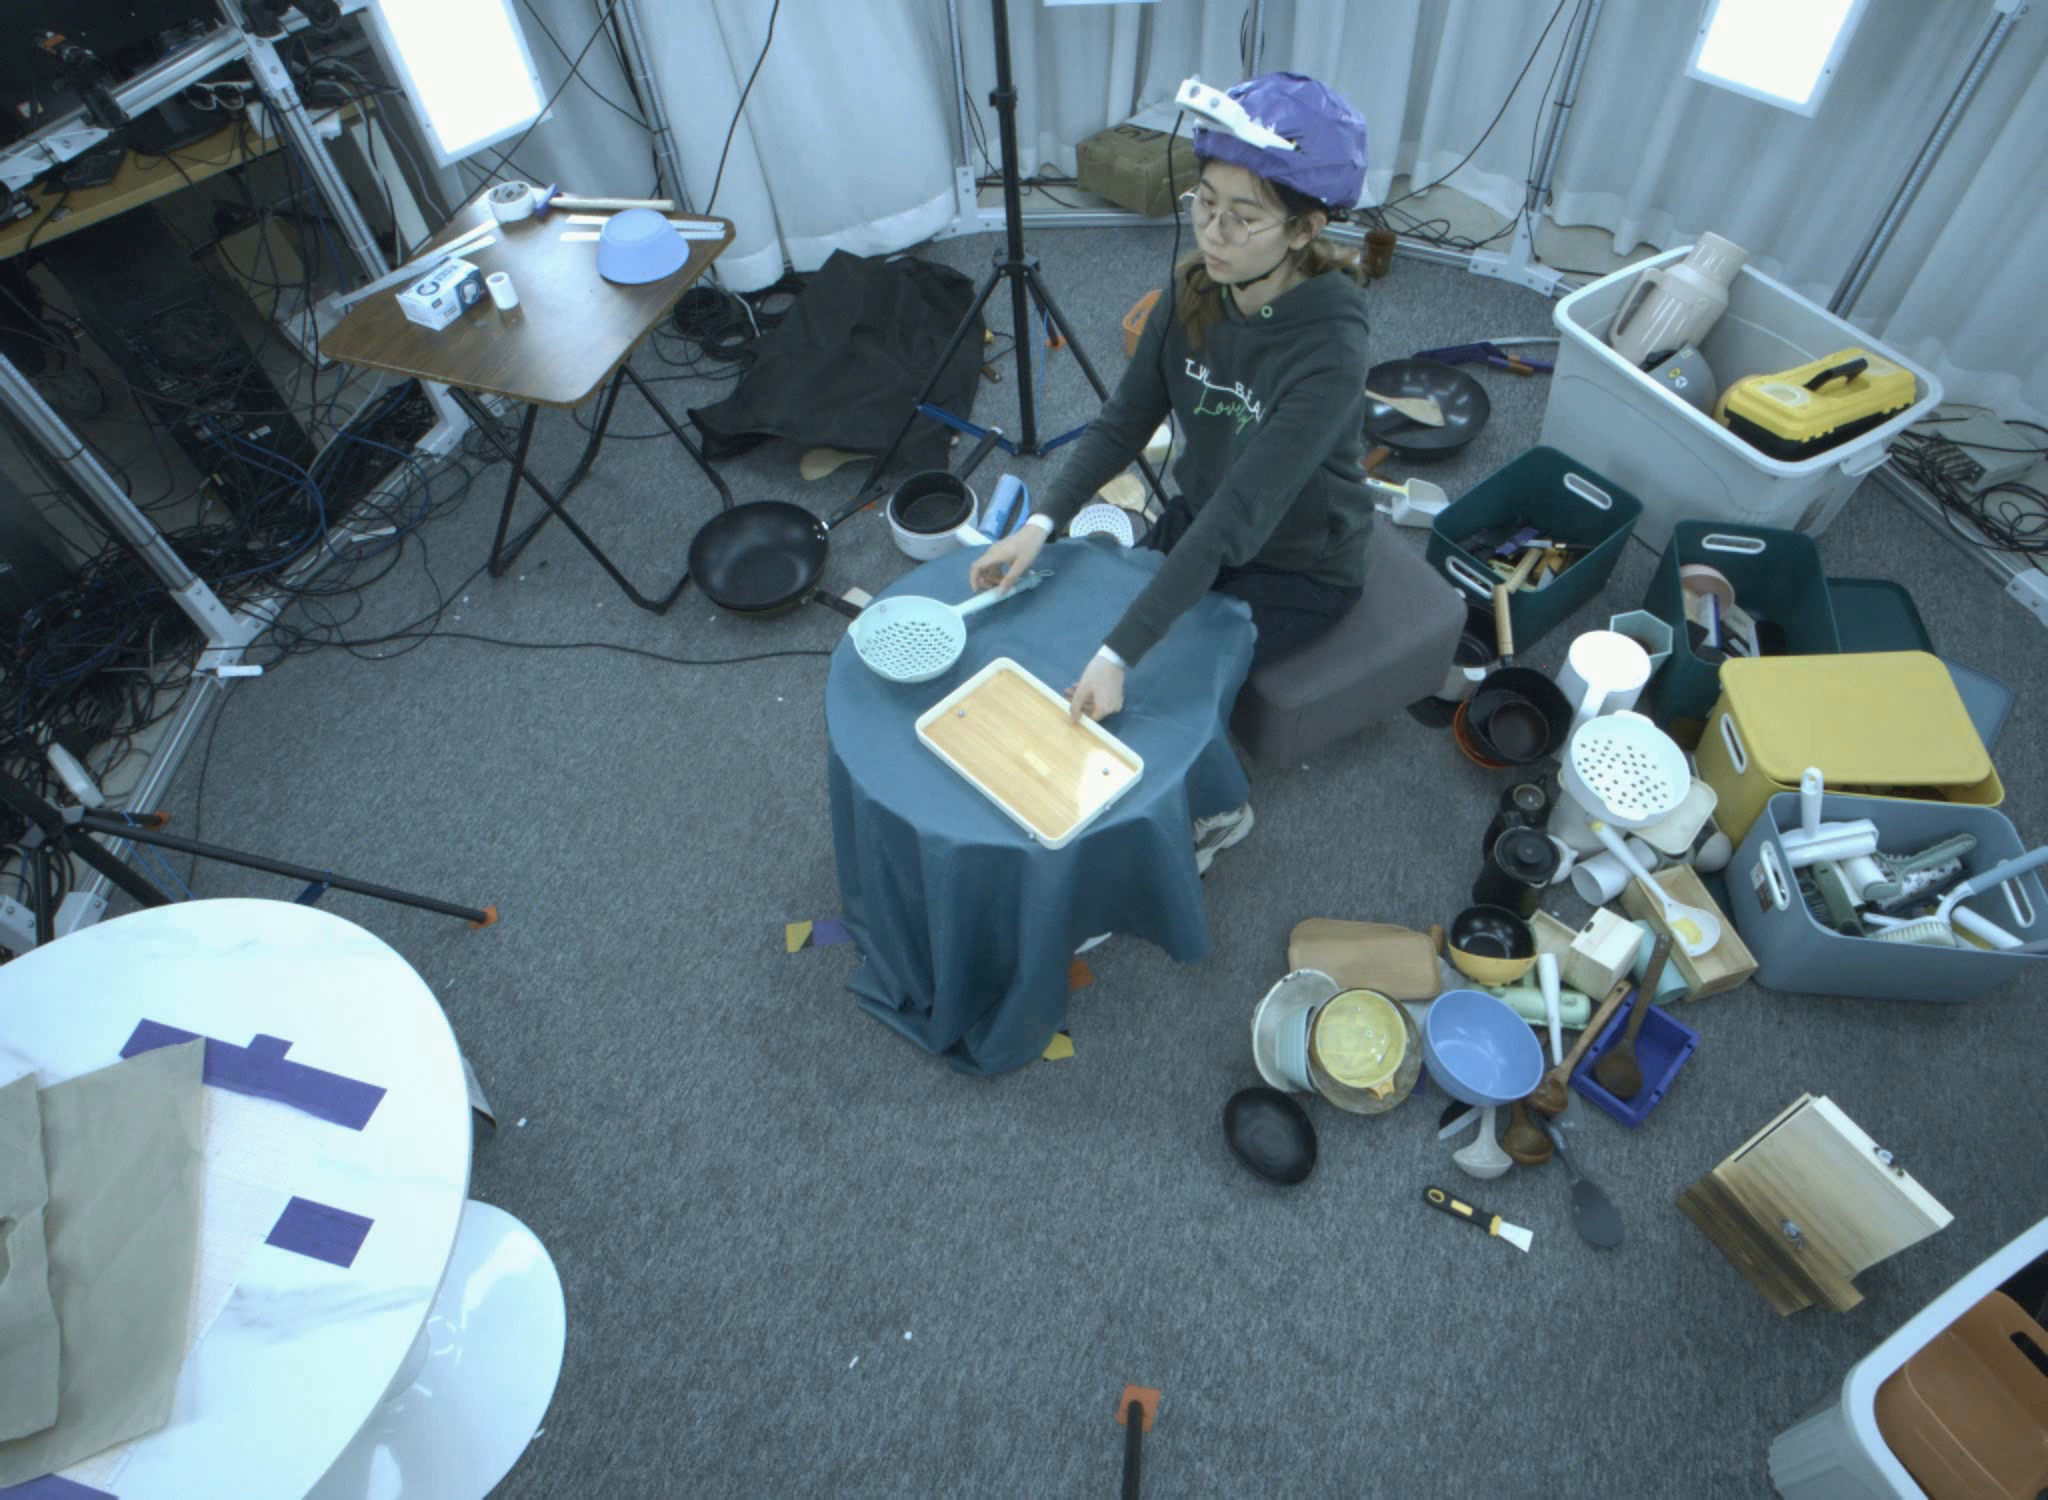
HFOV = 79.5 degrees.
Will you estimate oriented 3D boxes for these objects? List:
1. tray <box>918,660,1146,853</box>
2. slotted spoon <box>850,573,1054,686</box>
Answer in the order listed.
[{"bbox_3d":[0.009,0.003,1.779,0.193,0.028,0.295,-39,63,-23],"label":"tray"},{"bbox_3d":[-0.096,-0.206,1.906,0.361,0.076,0.166,-35,63,-21],"label":"slotted spoon"}]
